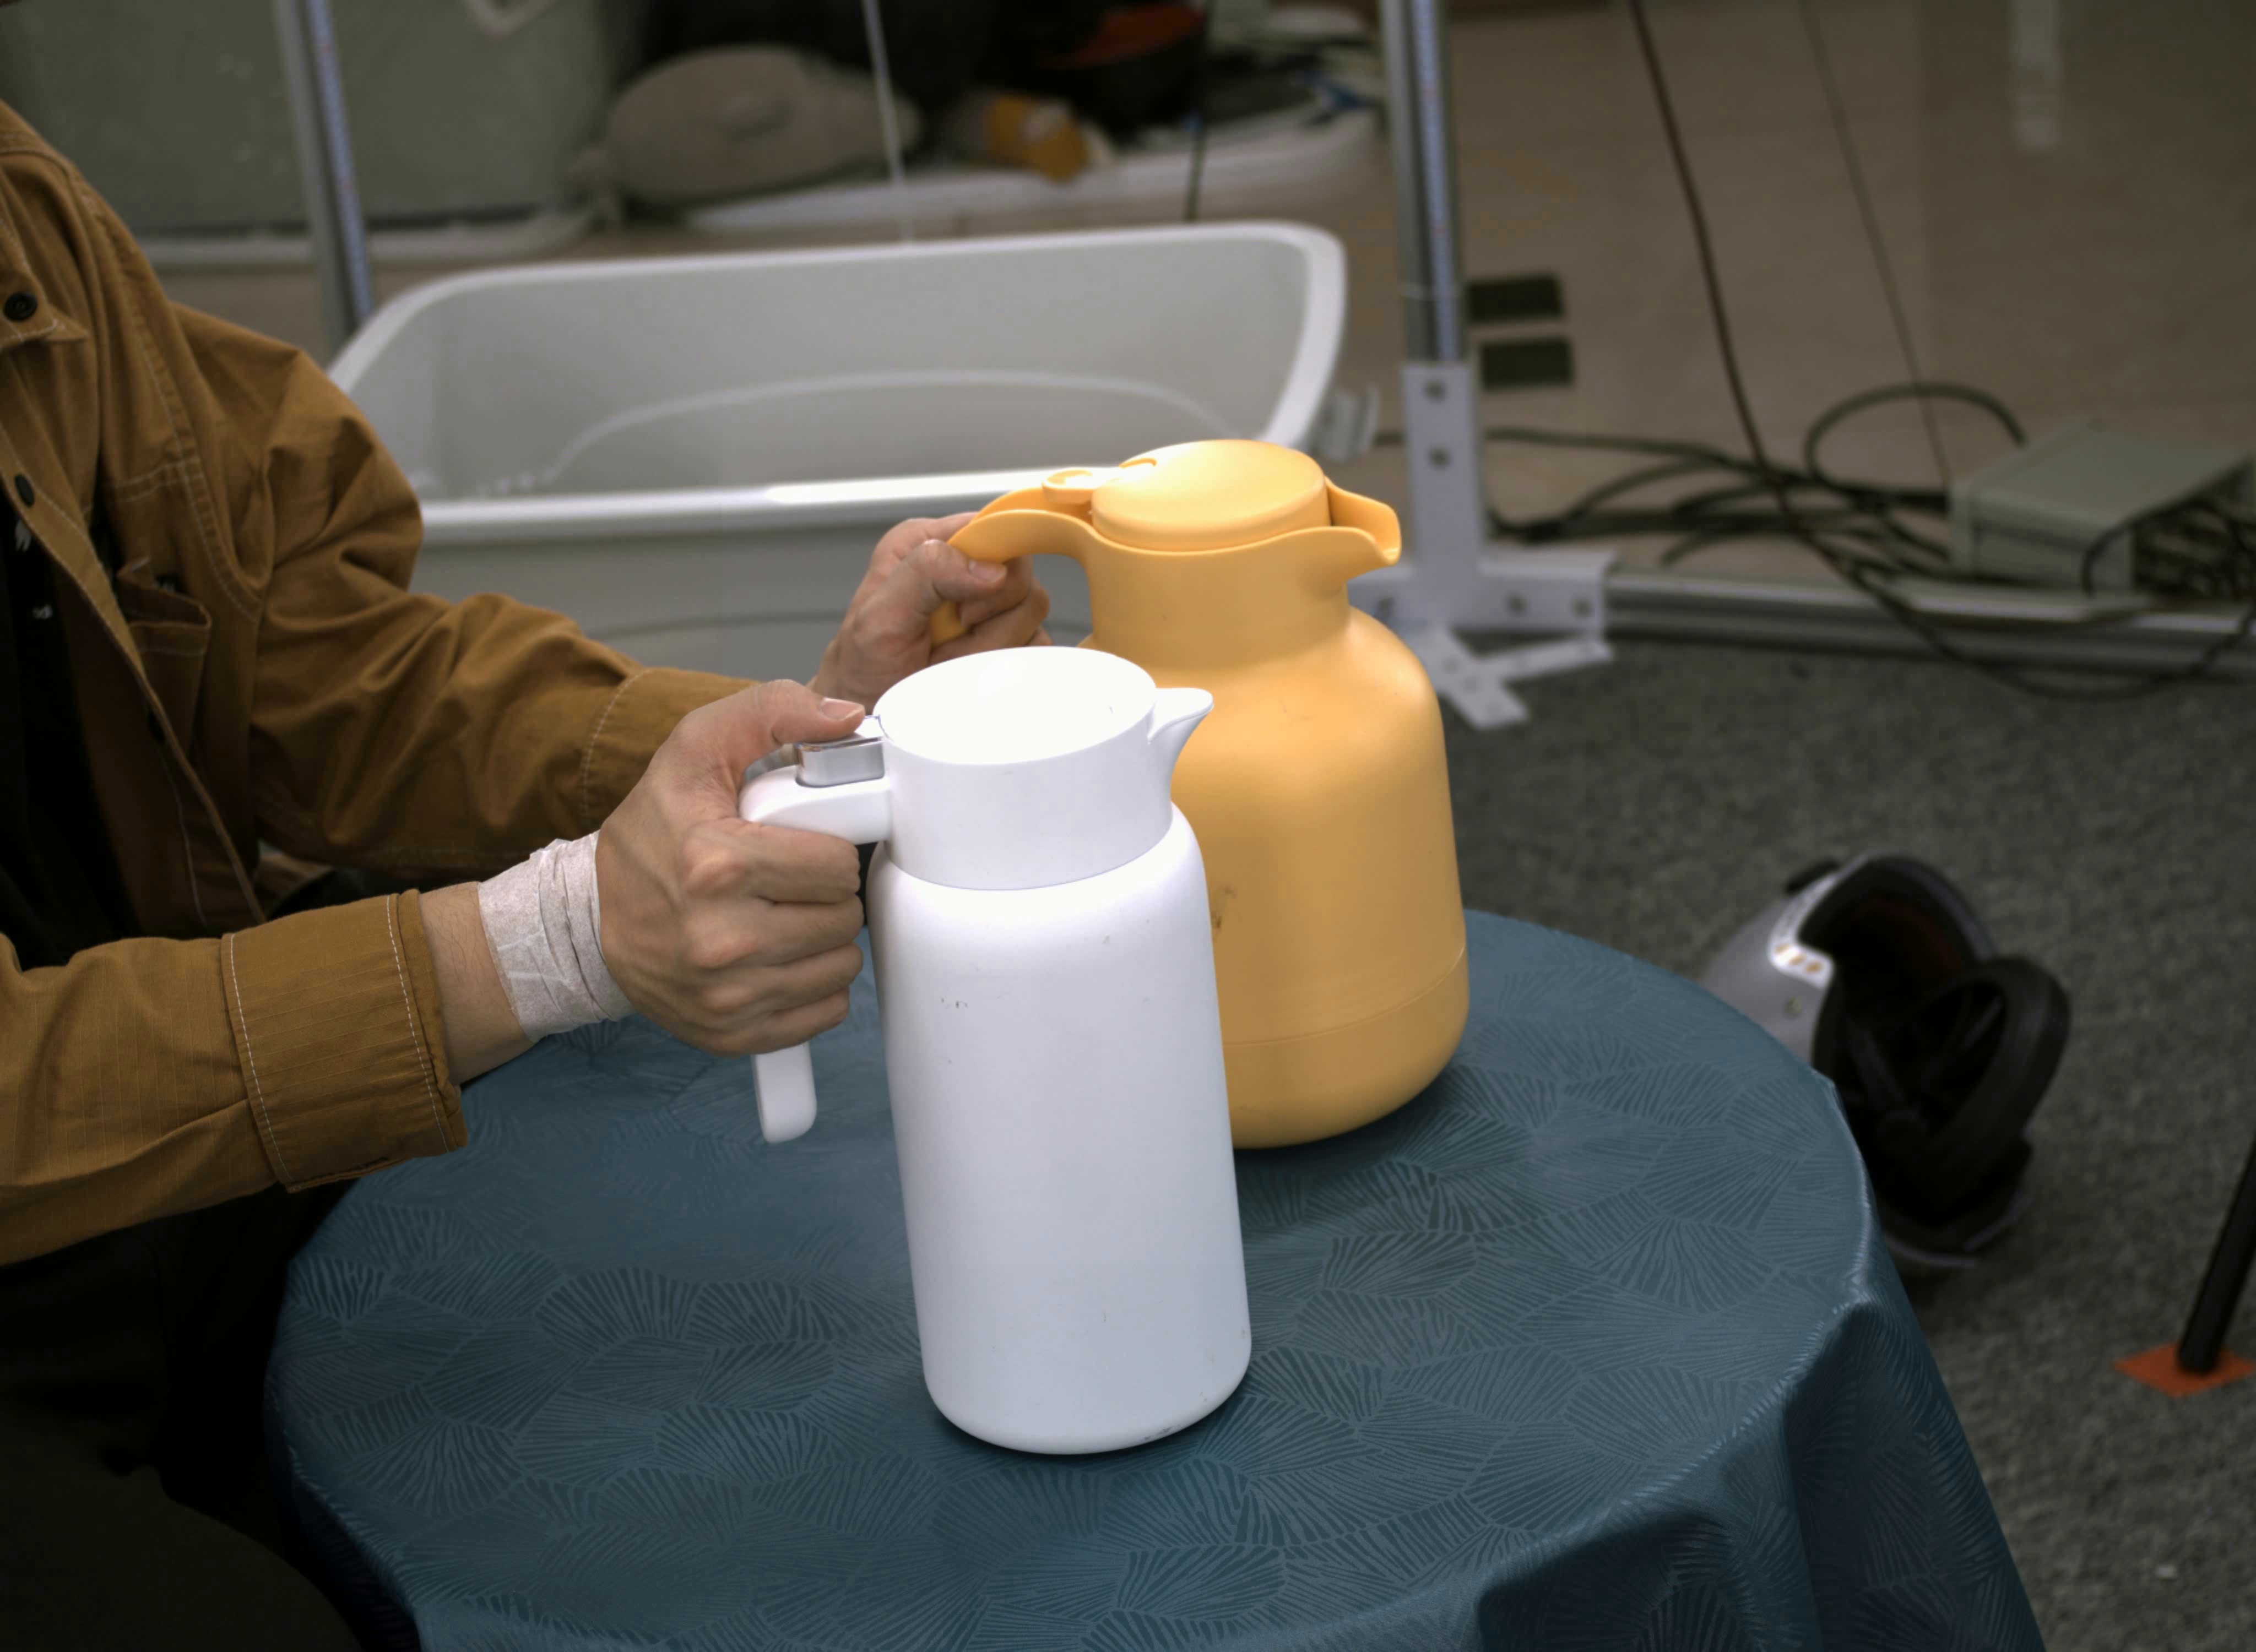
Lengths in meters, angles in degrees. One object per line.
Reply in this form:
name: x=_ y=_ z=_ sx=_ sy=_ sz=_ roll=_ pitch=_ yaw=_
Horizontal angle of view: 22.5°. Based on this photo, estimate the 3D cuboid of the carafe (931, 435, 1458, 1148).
carafe: x=0.024 y=-0.020 z=2.168 sx=0.201 sy=0.264 sz=0.161 roll=8 pitch=27 yaw=24

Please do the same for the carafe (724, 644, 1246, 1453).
carafe: x=-0.044 y=0.080 z=1.963 sx=0.172 sy=0.273 sz=0.122 roll=-9 pitch=28 yaw=-7
